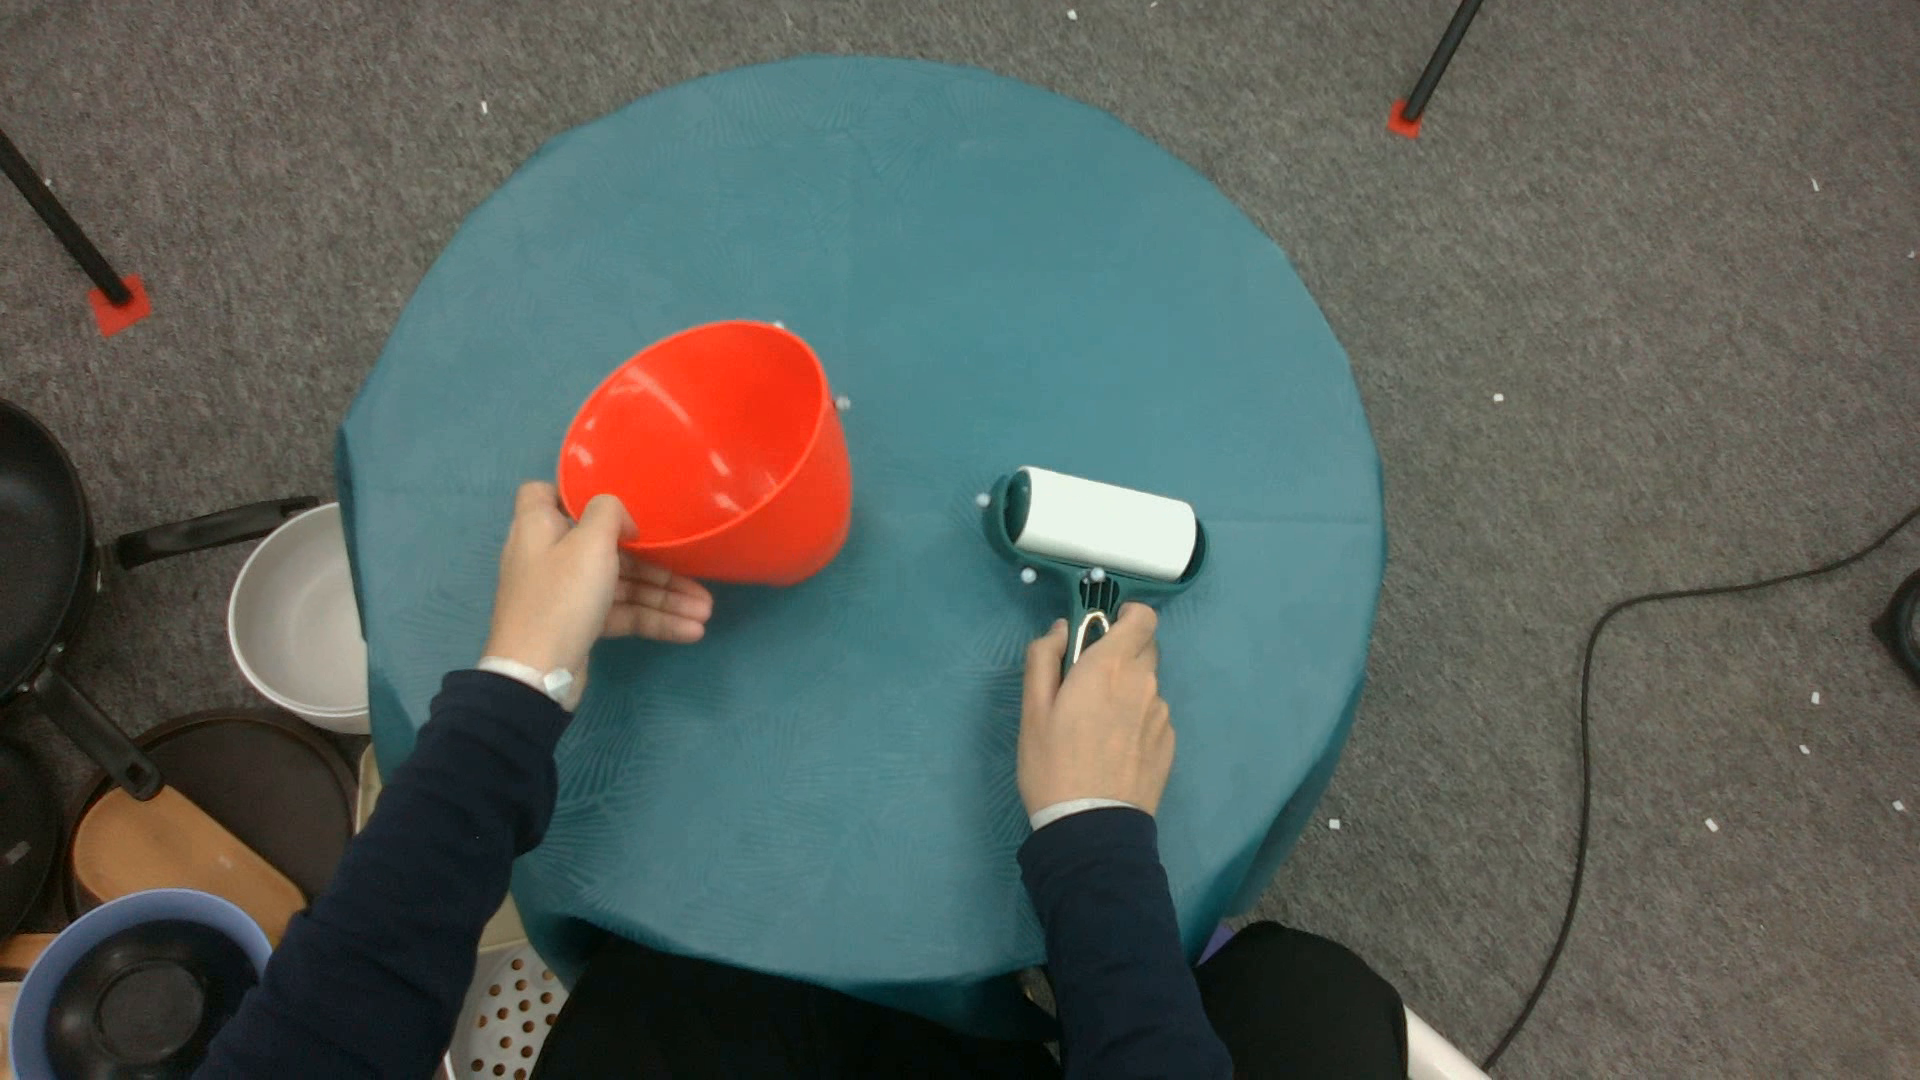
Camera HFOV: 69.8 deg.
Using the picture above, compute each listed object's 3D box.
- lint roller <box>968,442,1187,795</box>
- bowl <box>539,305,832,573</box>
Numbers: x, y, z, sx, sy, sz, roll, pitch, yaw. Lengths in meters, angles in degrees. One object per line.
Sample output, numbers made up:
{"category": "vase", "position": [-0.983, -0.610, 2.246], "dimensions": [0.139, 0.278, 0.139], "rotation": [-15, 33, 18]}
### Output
{"category": "lint roller", "position": [0.063, 0.044, 0.740], "dimensions": [0.134, 0.048, 0.181], "rotation": [15, 64, -25]}
{"category": "bowl", "position": [-0.131, -0.041, 0.729], "dimensions": [0.147, 0.104, 0.148], "rotation": [-16, 48, 19]}
